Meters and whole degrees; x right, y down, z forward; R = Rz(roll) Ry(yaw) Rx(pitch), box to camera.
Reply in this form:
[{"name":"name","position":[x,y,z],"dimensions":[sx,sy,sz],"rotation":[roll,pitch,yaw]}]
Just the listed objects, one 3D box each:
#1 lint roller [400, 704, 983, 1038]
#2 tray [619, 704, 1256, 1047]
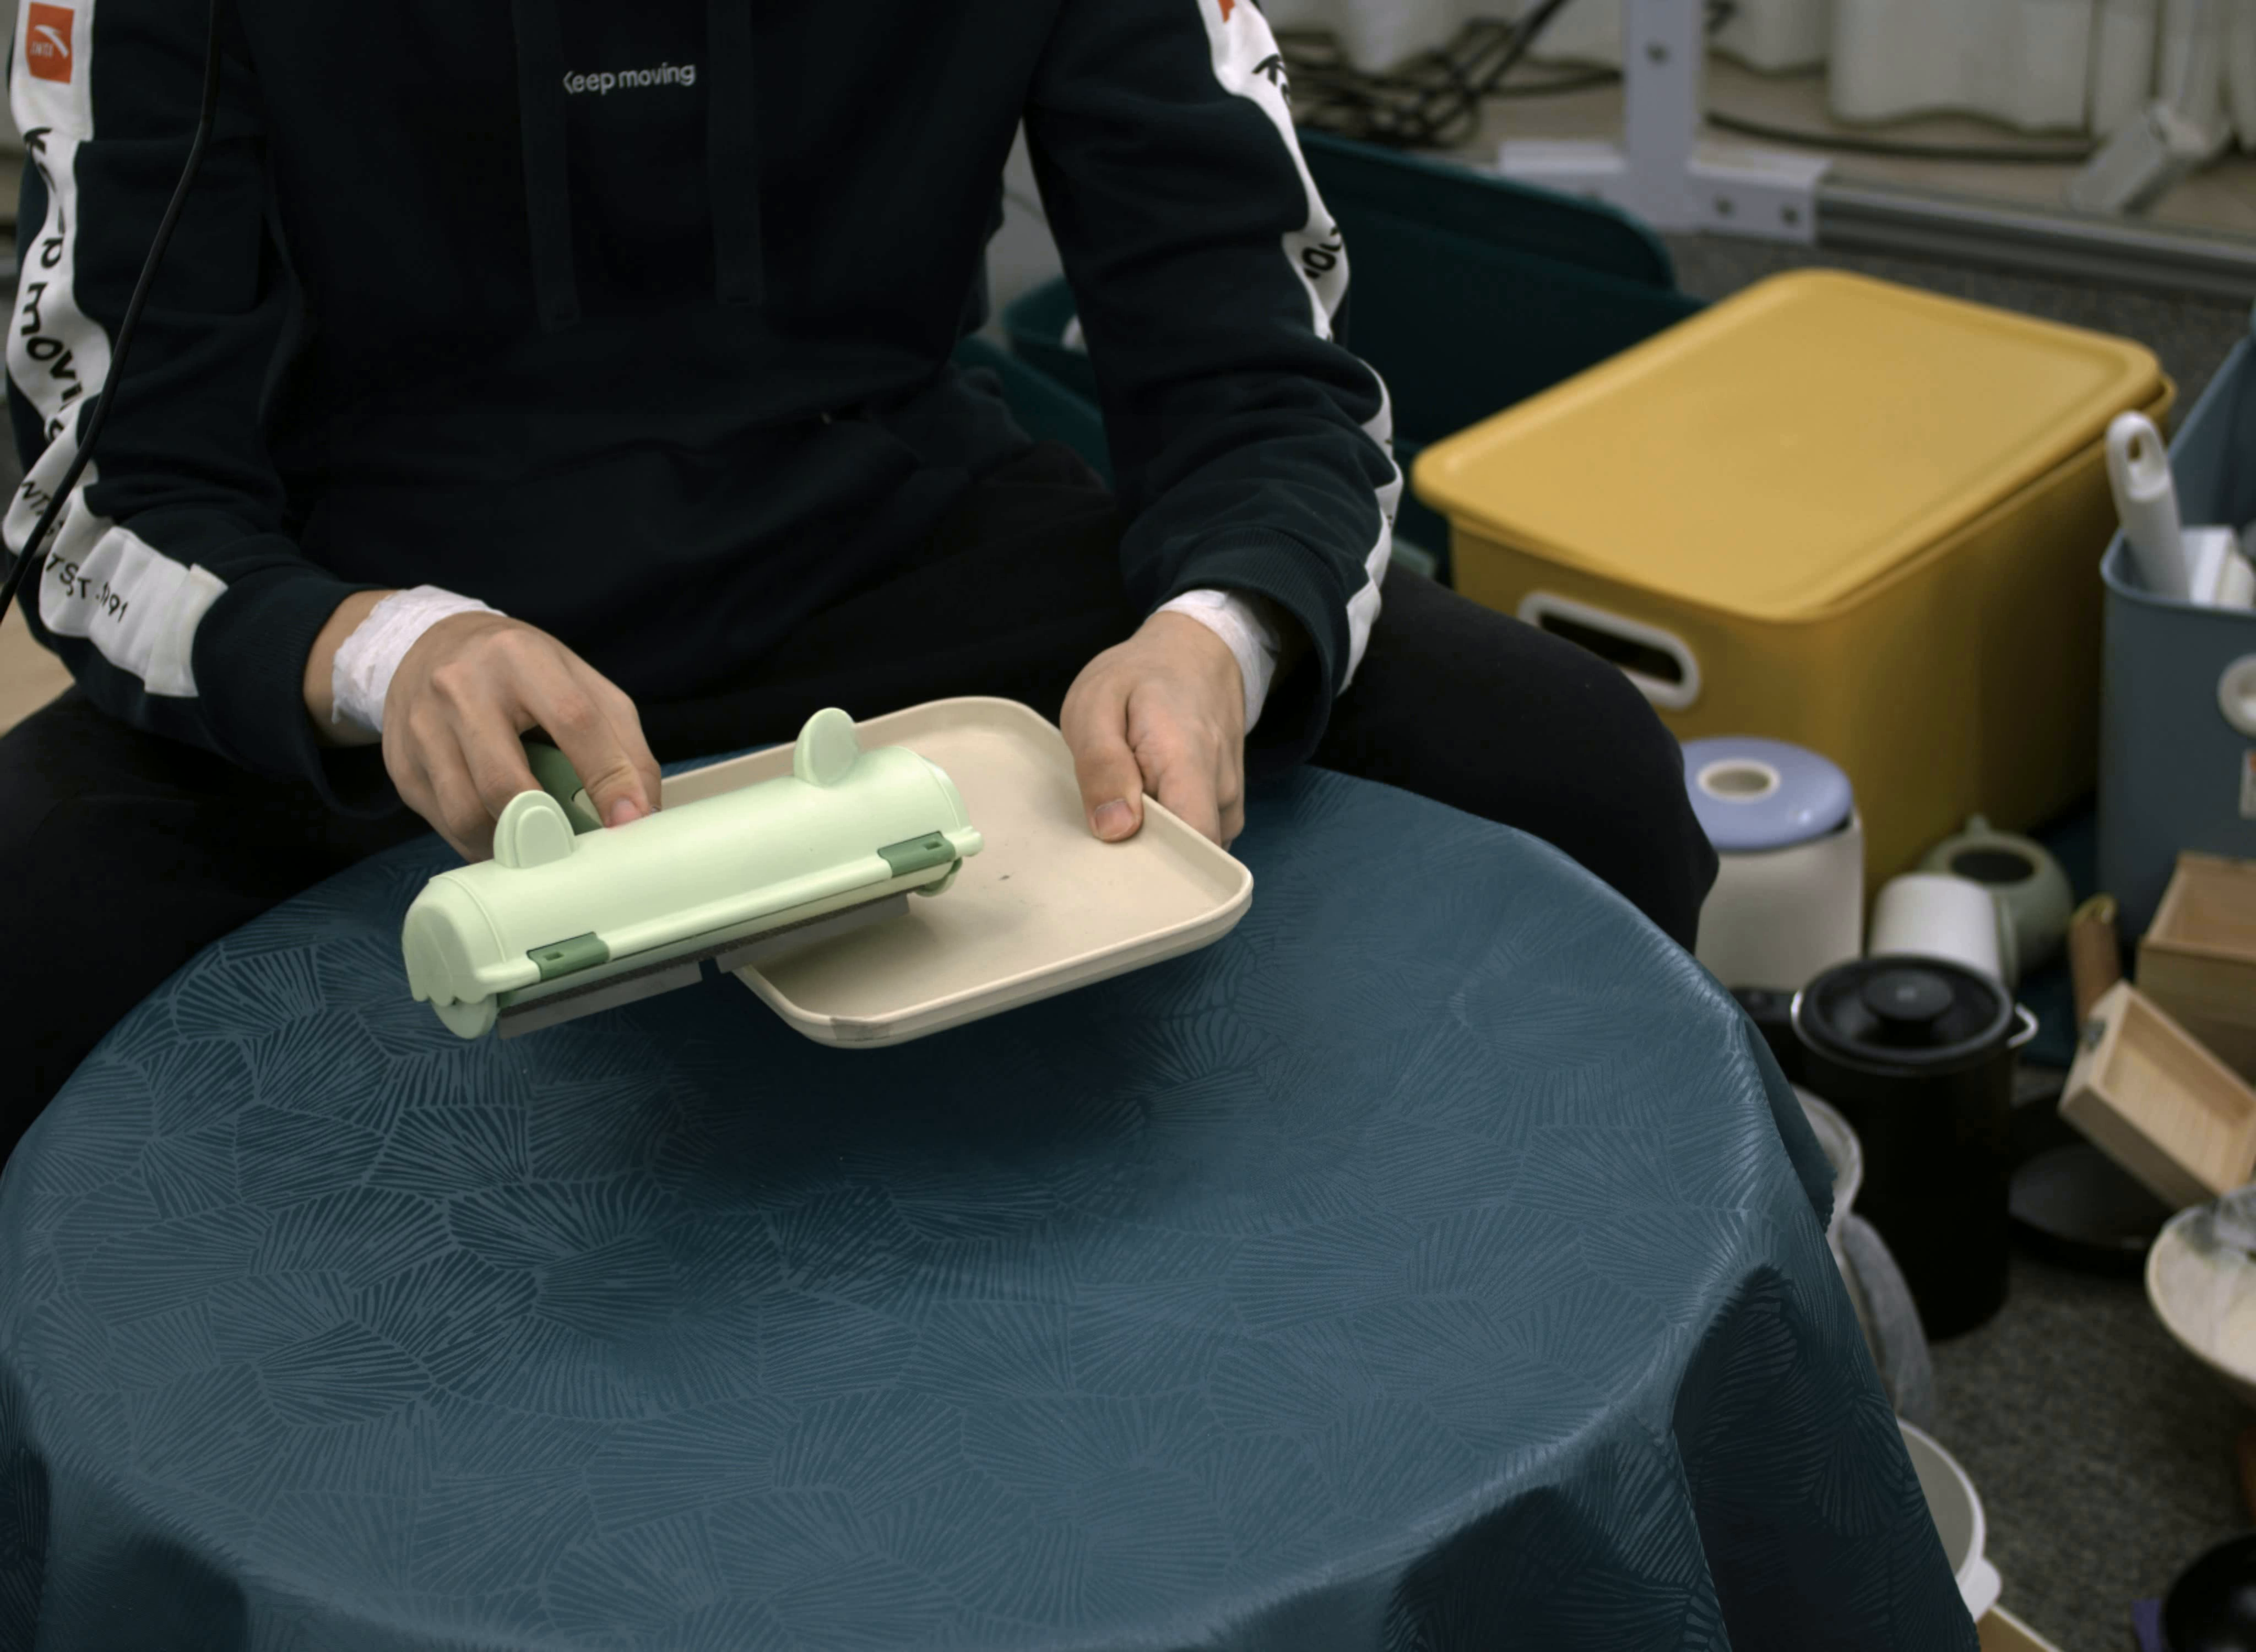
[{"name":"lint roller","position":[-0.176,-0.010,1.888],"dimensions":[0.200,0.081,0.184],"rotation":[-17,37,-33]},{"name":"tray","position":[-0.073,0.016,1.940],"dimensions":[0.172,0.017,0.240],"rotation":[-16,24,-21]}]
